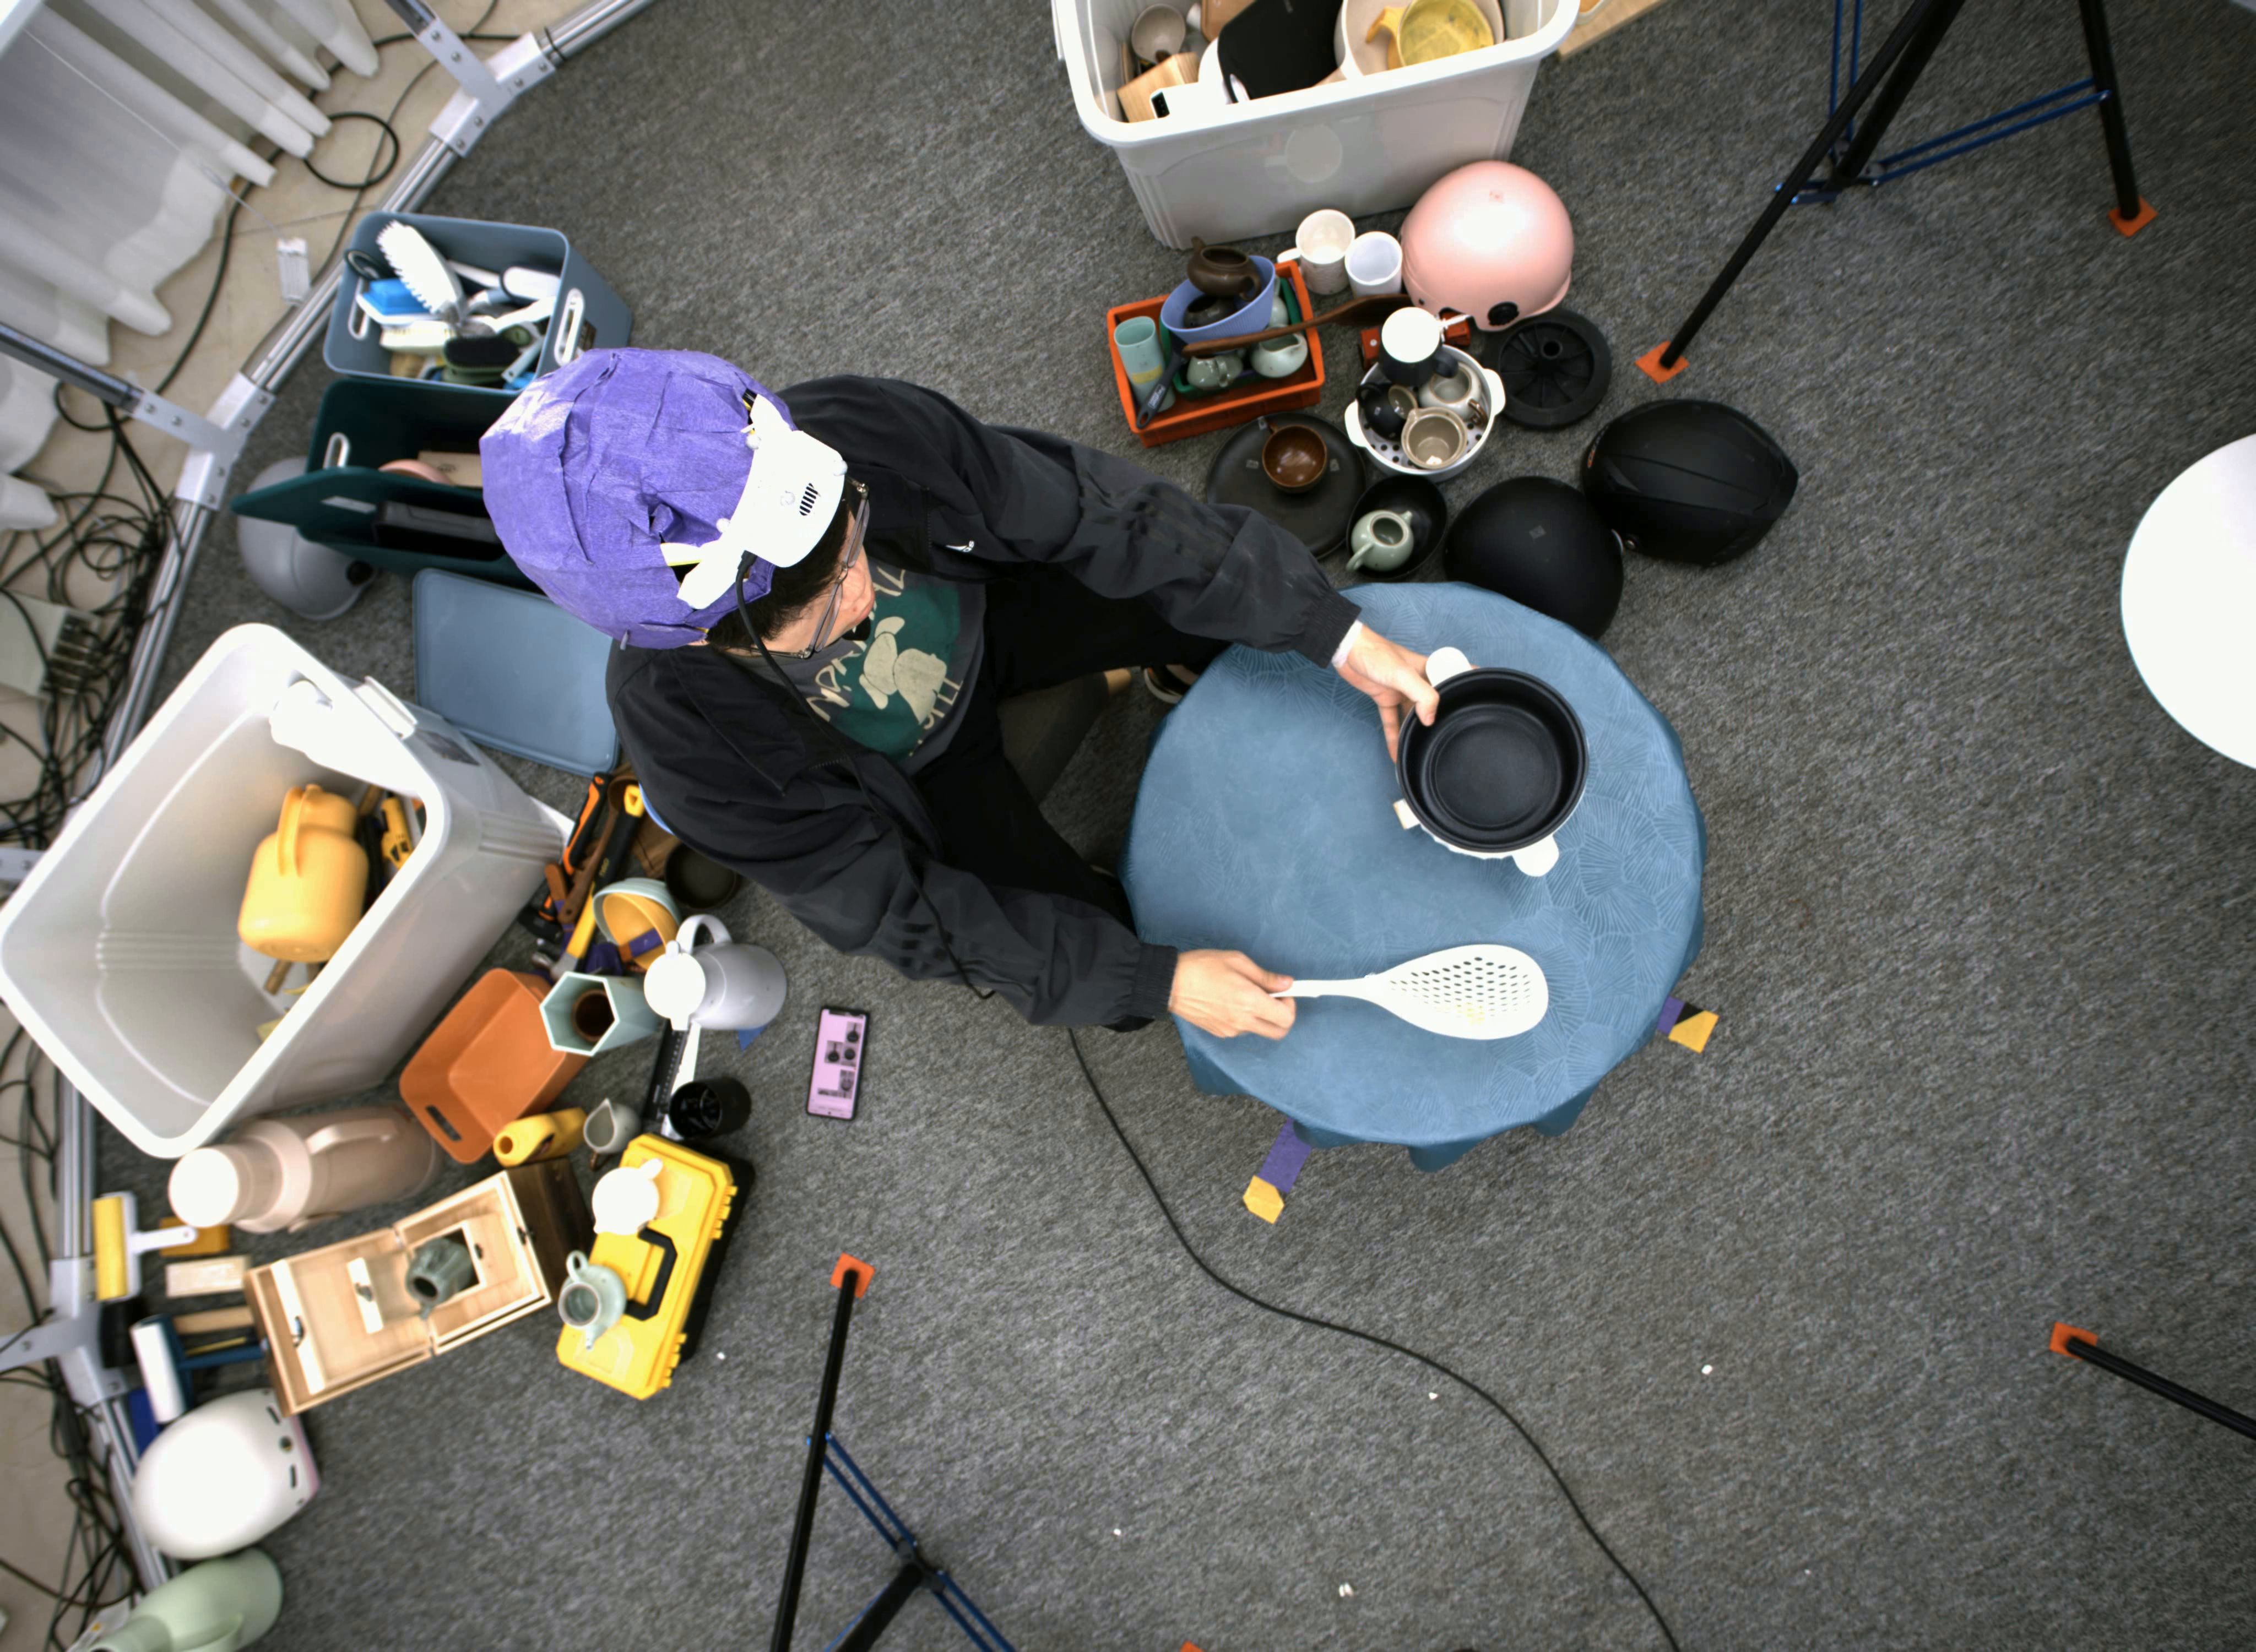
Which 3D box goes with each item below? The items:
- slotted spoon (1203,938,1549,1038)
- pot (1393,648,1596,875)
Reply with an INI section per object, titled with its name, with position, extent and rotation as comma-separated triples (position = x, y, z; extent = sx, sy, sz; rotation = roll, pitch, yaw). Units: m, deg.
[slotted spoon]
position = 0.249, 0.173, 1.413
extent = 0.349, 0.133, 0.051
rotation = 0, 130, 10
[pot]
position = 0.359, -0.054, 1.375
extent = 0.191, 0.143, 0.238
rotation = -24, 79, 6
